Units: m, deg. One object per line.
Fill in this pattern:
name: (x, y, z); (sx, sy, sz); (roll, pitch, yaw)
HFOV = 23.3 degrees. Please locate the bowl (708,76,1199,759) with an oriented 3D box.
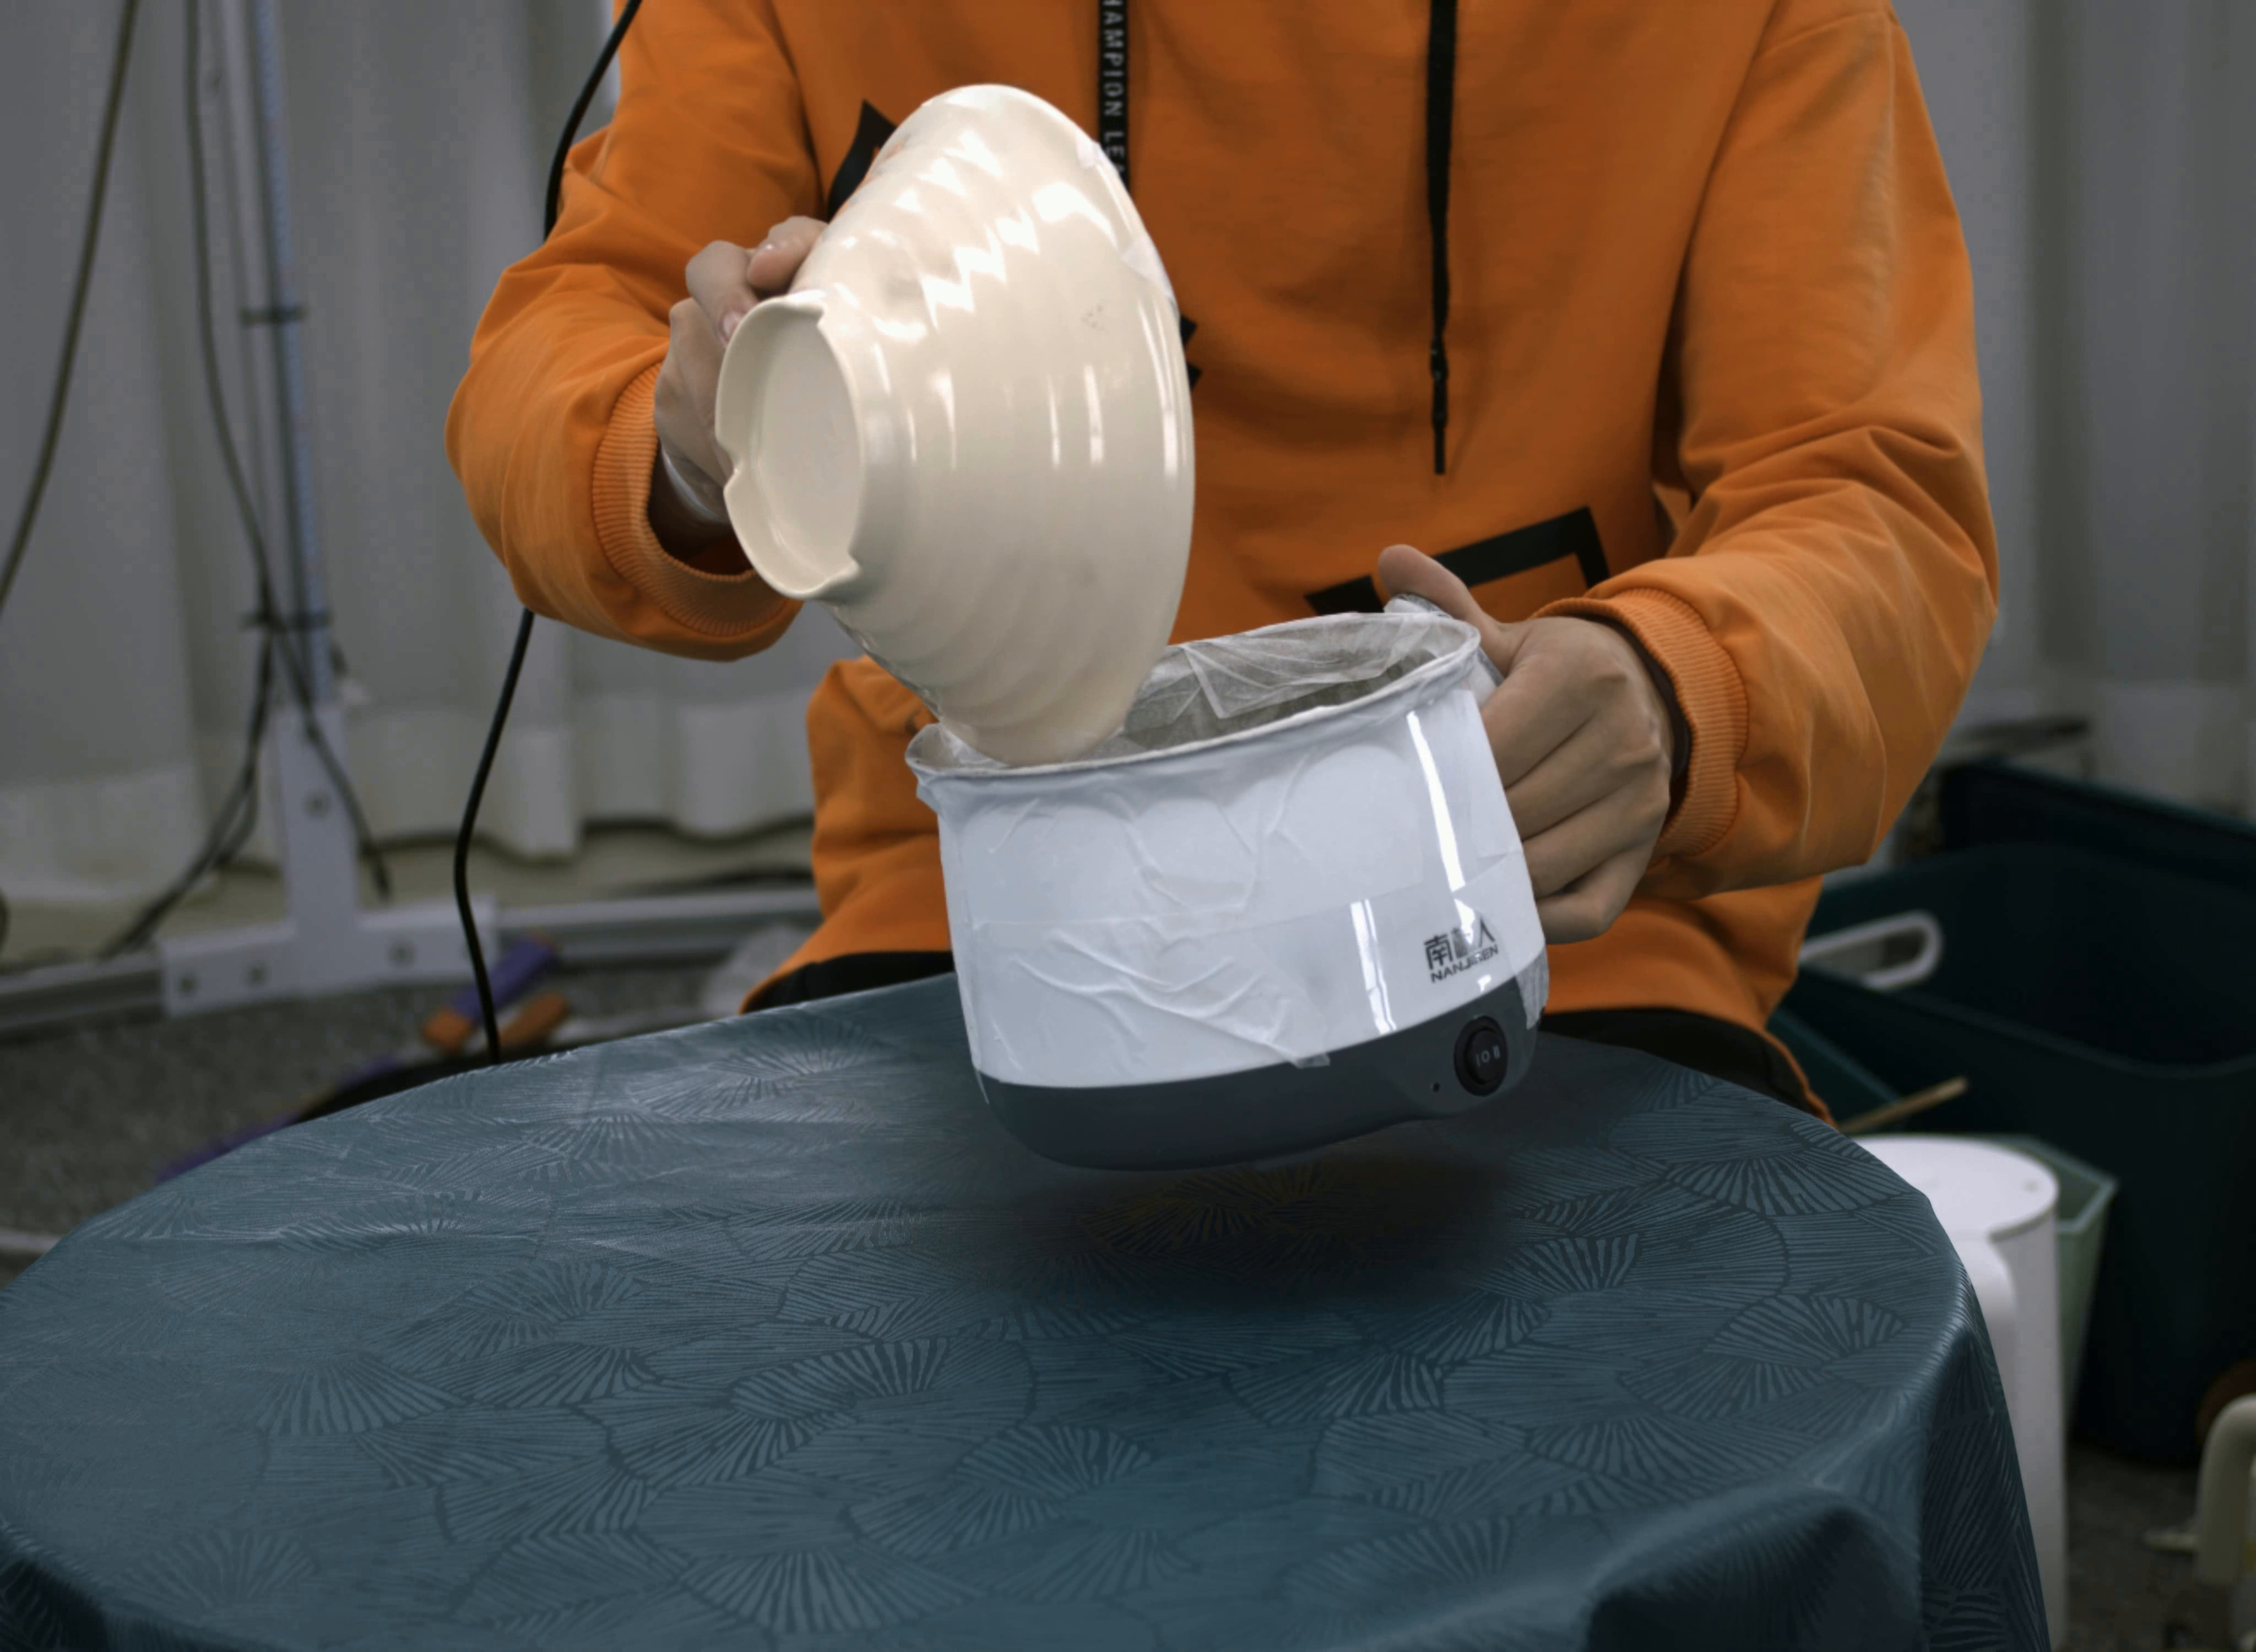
bowl: (-0.068, -0.116, 1.601); (0.077, 0.203, 0.205); (-5, 13, -35)

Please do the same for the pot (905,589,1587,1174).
pot: (0.050, 0.012, 1.667); (0.179, 0.136, 0.234); (-1, 16, 44)
